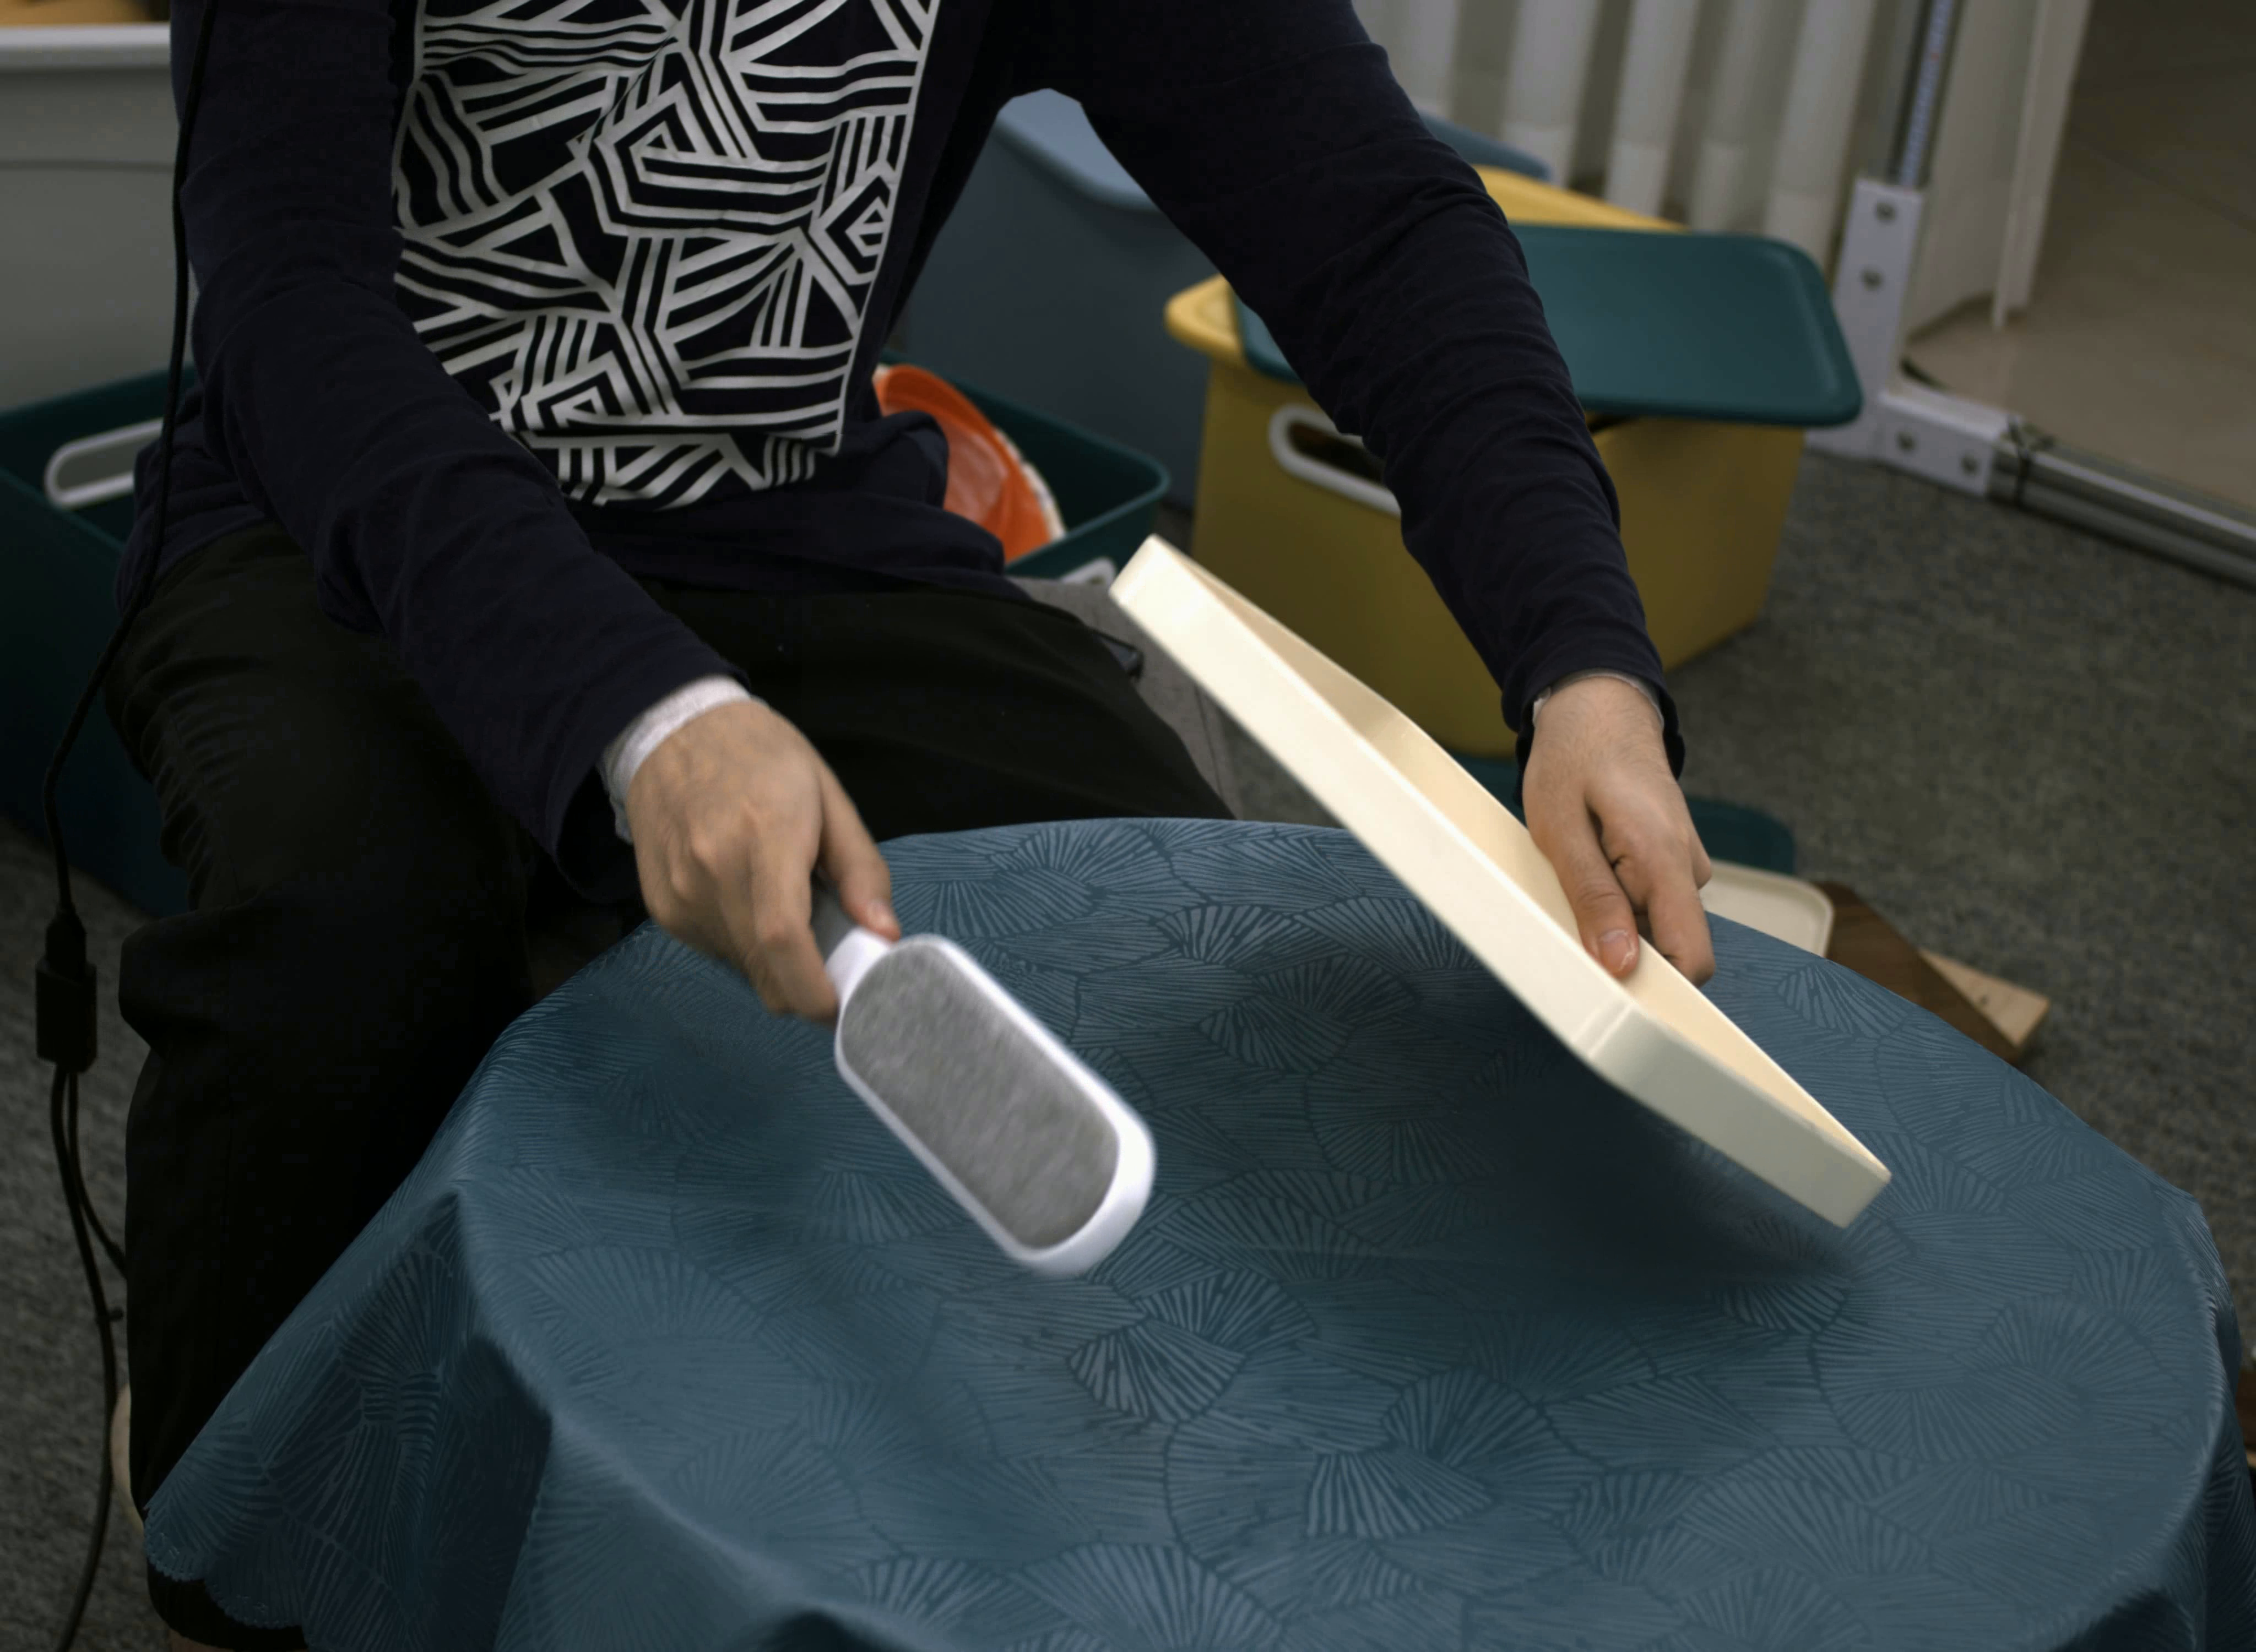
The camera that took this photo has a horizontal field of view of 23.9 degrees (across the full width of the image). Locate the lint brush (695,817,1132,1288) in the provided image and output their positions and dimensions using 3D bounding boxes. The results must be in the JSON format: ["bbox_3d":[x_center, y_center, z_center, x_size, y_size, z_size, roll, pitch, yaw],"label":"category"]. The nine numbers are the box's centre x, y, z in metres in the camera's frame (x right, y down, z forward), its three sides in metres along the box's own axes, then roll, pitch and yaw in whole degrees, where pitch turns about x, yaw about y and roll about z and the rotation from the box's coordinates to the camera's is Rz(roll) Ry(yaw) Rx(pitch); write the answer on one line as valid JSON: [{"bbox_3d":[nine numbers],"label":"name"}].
[{"bbox_3d":[-0.076,0.064,1.735,0.021,0.060,0.311,32,6,-35],"label":"lint brush"}]

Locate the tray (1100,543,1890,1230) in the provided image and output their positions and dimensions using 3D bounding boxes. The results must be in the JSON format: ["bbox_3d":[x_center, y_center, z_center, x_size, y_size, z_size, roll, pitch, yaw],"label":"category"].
[{"bbox_3d":[0.123,0.020,1.829,0.190,0.027,0.303,33,9,-49],"label":"tray"}]
